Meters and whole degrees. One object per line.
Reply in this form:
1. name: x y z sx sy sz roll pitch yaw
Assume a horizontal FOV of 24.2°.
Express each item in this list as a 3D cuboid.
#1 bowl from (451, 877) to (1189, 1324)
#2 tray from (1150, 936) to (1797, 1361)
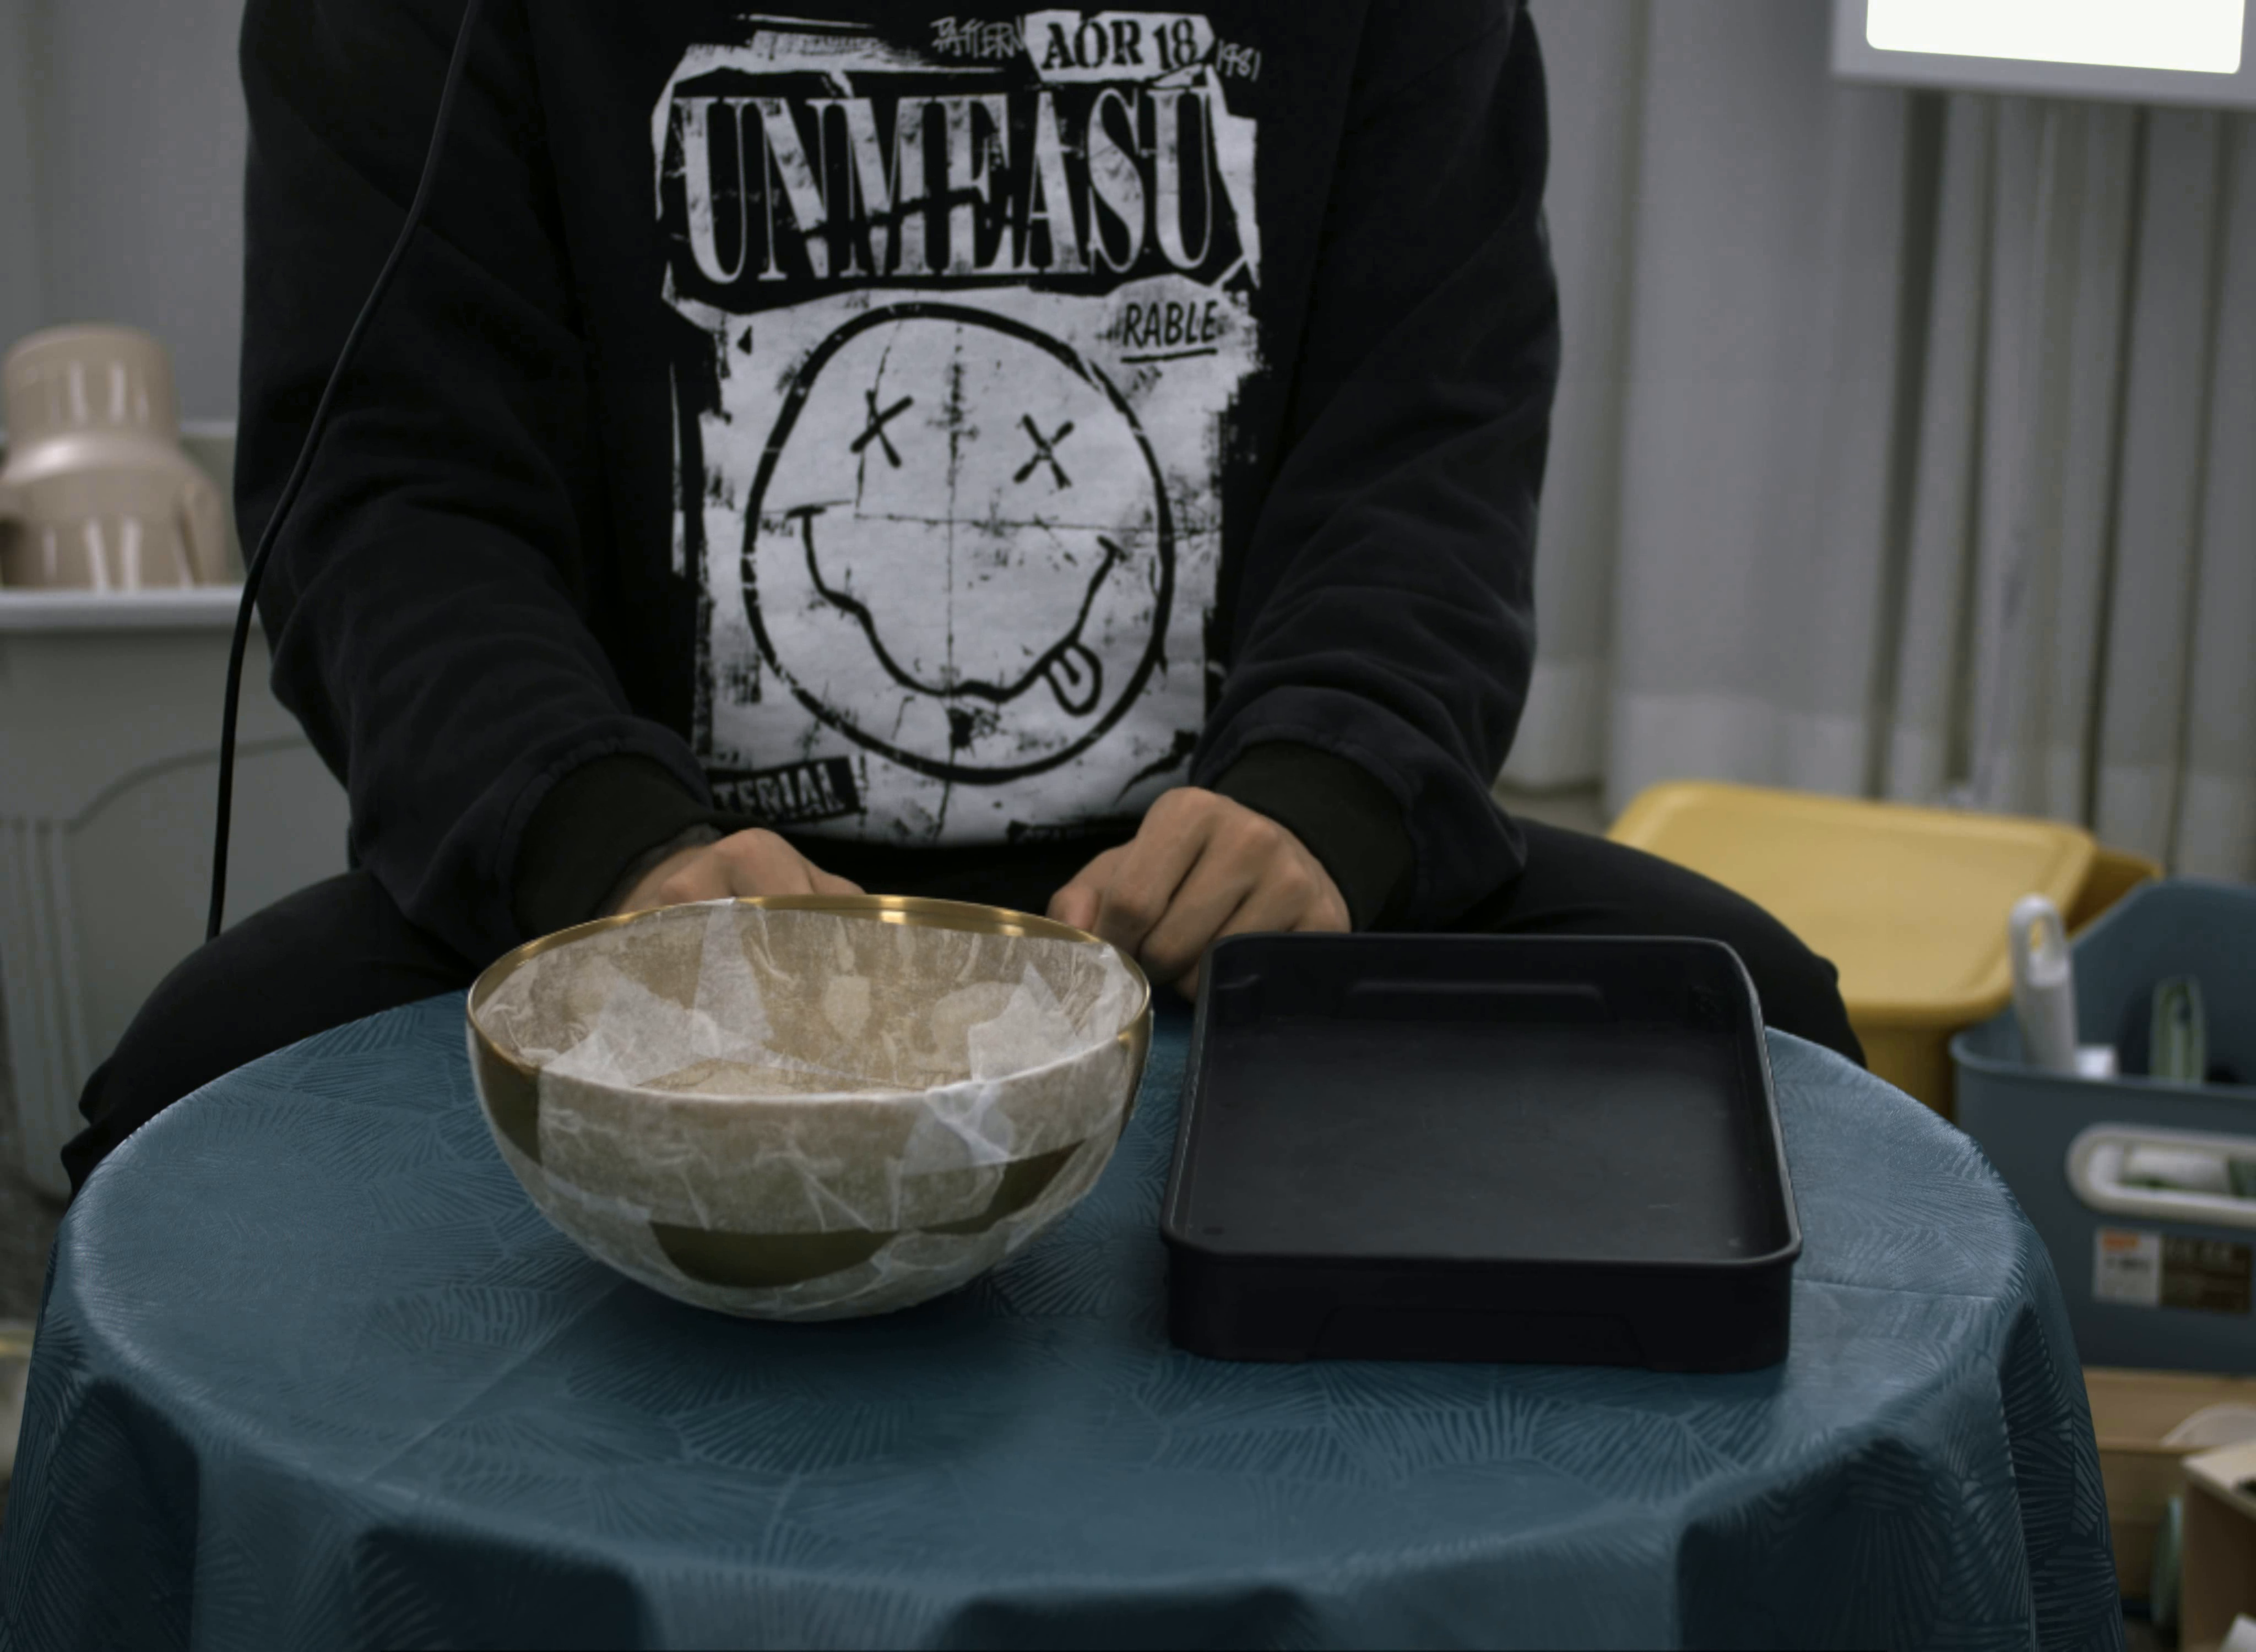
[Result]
1. bowl: -0.090 0.089 1.537 0.214 0.095 0.213 -1 17 1
2. tray: 0.108 0.093 1.626 0.183 0.037 0.317 1 15 4
